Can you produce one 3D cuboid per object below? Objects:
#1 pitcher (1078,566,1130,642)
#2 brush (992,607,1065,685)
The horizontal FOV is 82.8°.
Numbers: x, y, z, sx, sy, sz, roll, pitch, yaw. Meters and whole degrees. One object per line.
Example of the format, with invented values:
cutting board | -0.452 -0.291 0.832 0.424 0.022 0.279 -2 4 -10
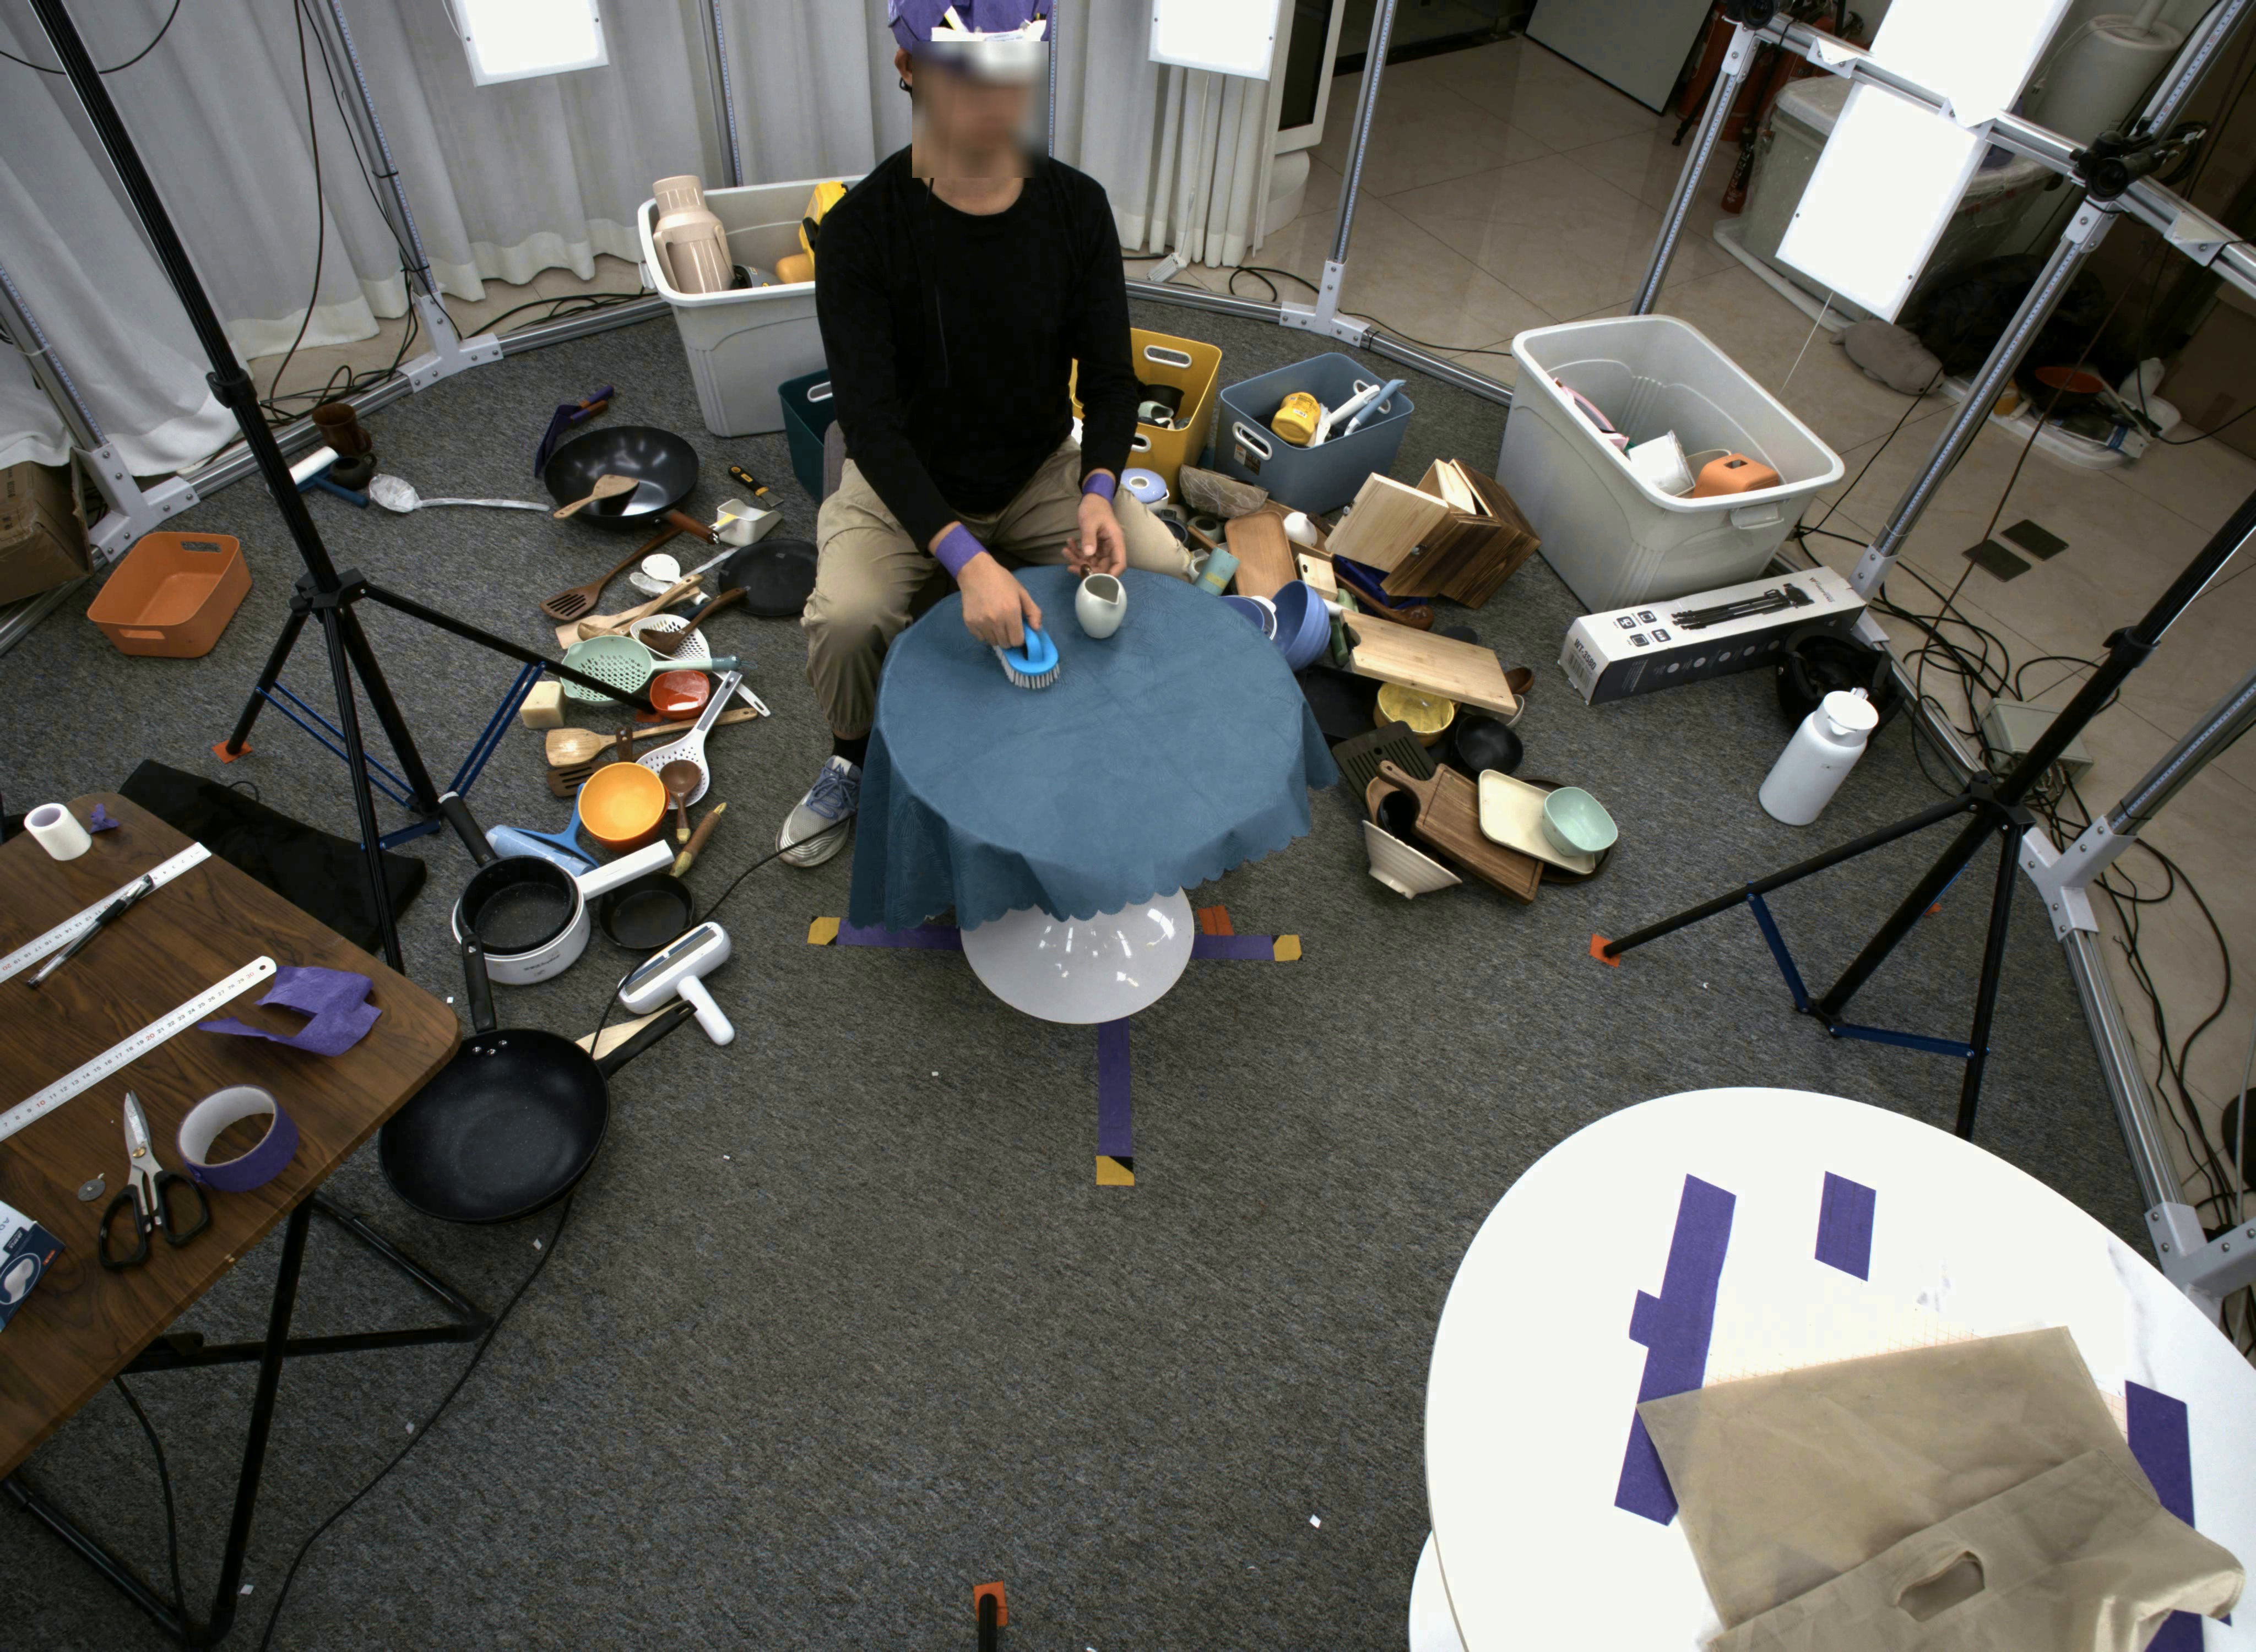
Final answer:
pitcher | -0.039 -0.322 1.887 0.076 0.086 0.122 -11 54 -21
brush | -0.146 -0.270 1.848 0.084 0.062 0.145 -18 51 -13
